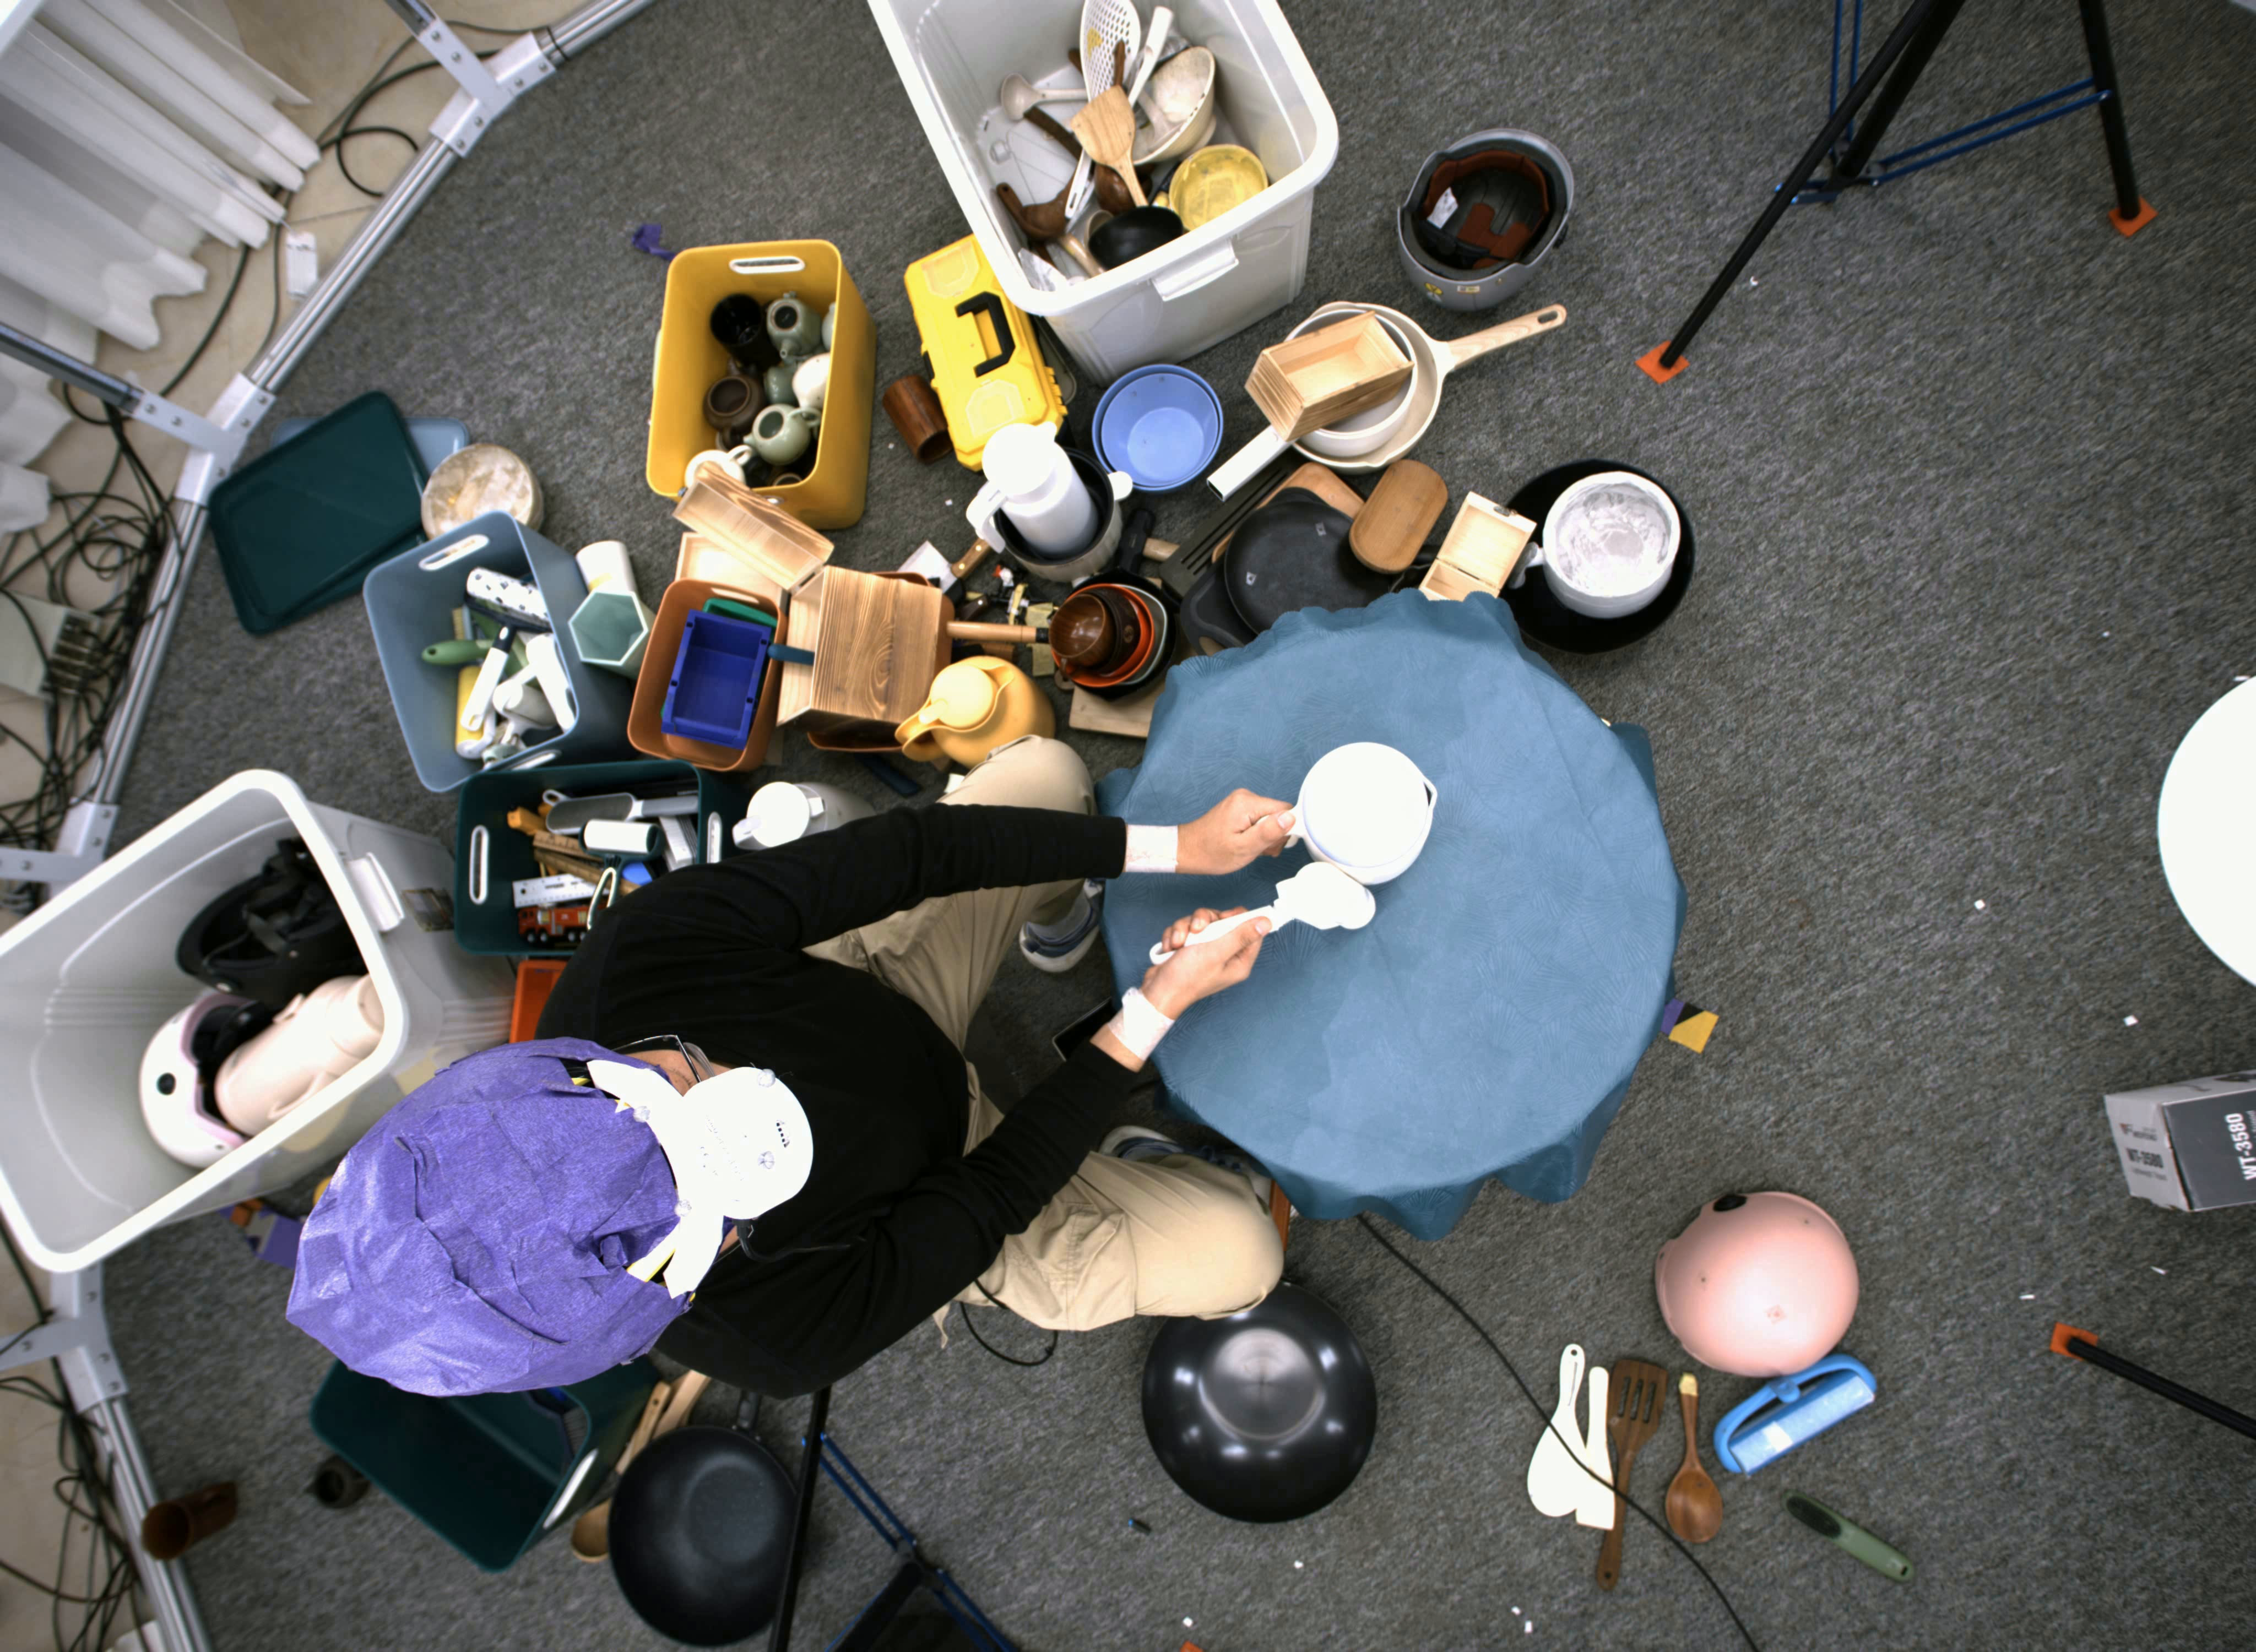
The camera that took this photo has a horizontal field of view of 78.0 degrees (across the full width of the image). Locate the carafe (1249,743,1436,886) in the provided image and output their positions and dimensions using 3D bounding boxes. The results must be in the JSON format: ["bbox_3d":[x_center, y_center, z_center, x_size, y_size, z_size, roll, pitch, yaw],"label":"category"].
[{"bbox_3d":[0.214,-0.006,1.388,0.192,0.182,0.131,-13,82,11],"label":"carafe"}]

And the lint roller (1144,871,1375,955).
[{"bbox_3d":[0.123,0.099,1.374,0.228,0.202,0.048,-18,78,17],"label":"lint roller"}]
